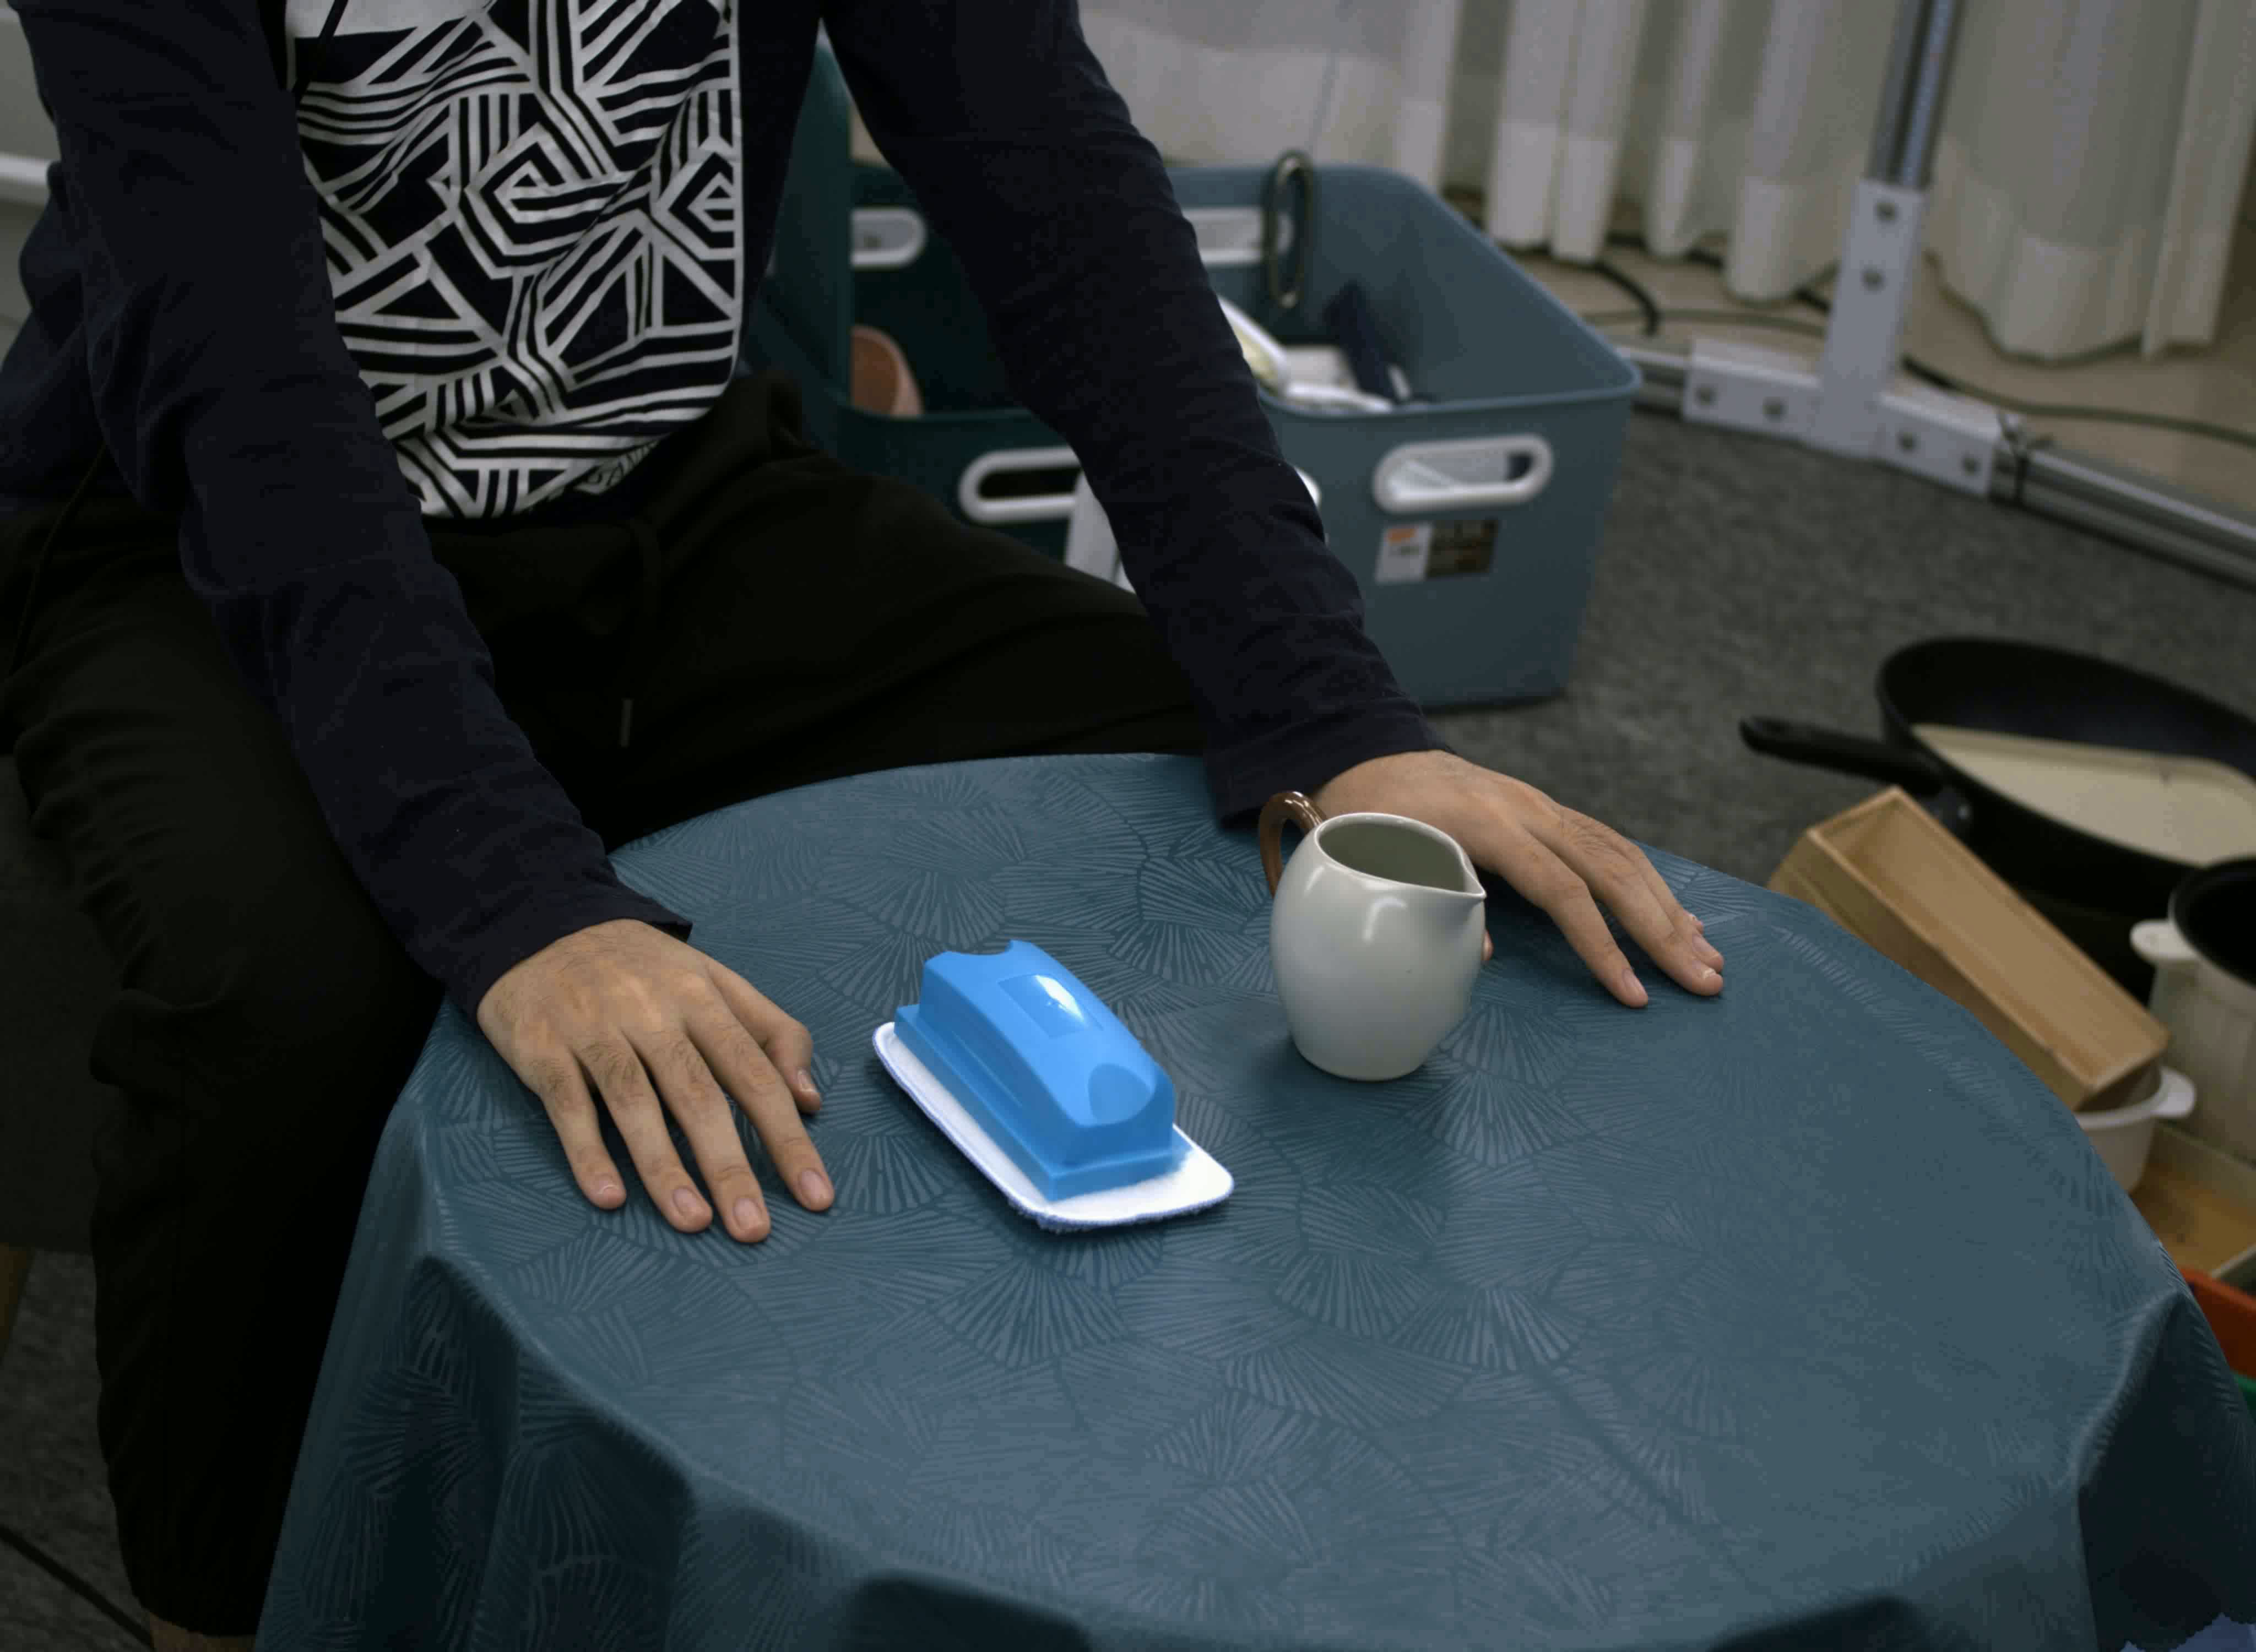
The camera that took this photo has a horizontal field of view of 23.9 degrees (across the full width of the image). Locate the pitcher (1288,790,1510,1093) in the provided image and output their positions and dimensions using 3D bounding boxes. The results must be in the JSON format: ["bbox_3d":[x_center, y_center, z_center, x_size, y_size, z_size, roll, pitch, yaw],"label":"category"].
[{"bbox_3d":[0.090,0.043,1.889,0.075,0.087,0.120,-5,33,-33],"label":"pitcher"}]

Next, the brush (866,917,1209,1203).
[{"bbox_3d":[-0.029,0.076,1.828,0.083,0.056,0.145,-4,31,-26],"label":"brush"}]
